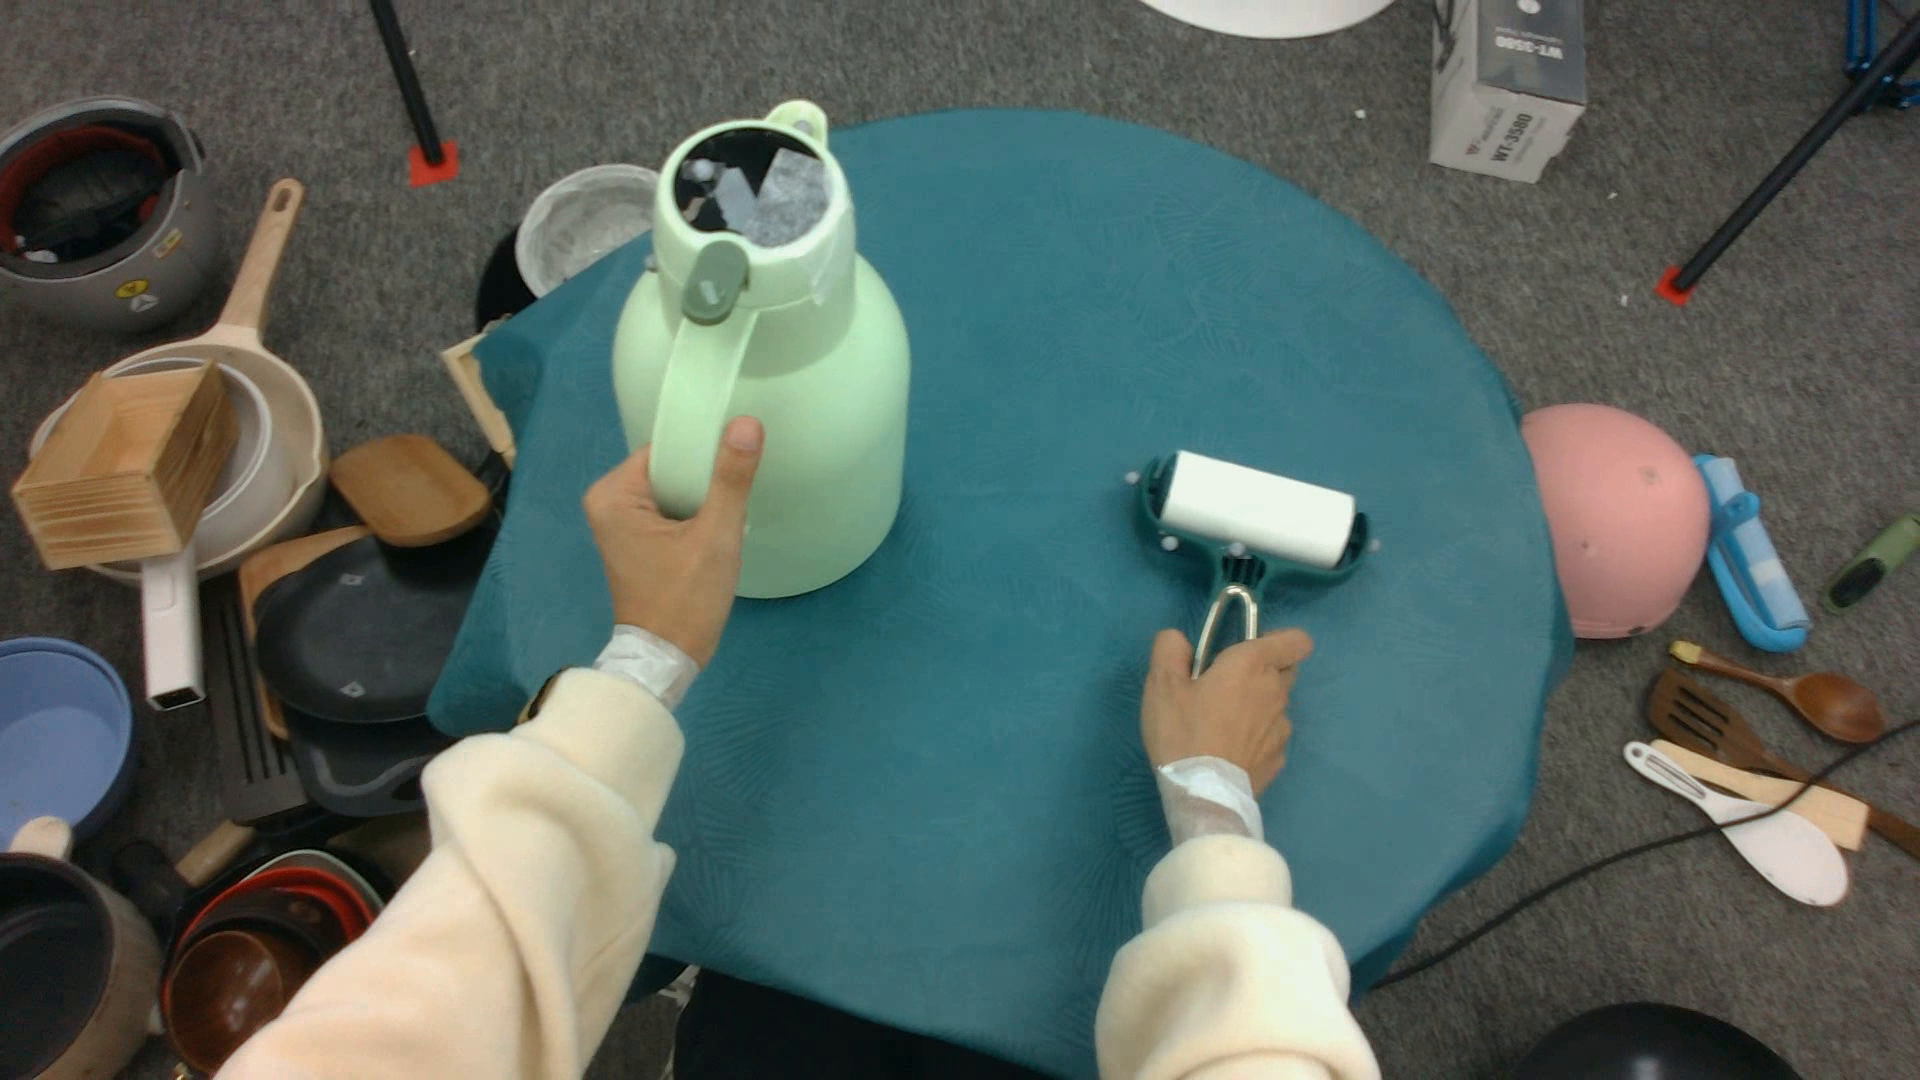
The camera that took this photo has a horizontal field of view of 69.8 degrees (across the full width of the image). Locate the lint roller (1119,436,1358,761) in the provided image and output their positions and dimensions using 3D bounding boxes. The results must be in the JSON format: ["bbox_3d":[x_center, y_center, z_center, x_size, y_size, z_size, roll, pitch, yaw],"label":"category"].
[{"bbox_3d":[0.139,0.030,0.728,0.134,0.048,0.181,16,51,2],"label":"lint roller"}]

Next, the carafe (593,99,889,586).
[{"bbox_3d":[-0.108,-0.075,0.659,0.144,0.255,0.187,15,66,0],"label":"carafe"}]
